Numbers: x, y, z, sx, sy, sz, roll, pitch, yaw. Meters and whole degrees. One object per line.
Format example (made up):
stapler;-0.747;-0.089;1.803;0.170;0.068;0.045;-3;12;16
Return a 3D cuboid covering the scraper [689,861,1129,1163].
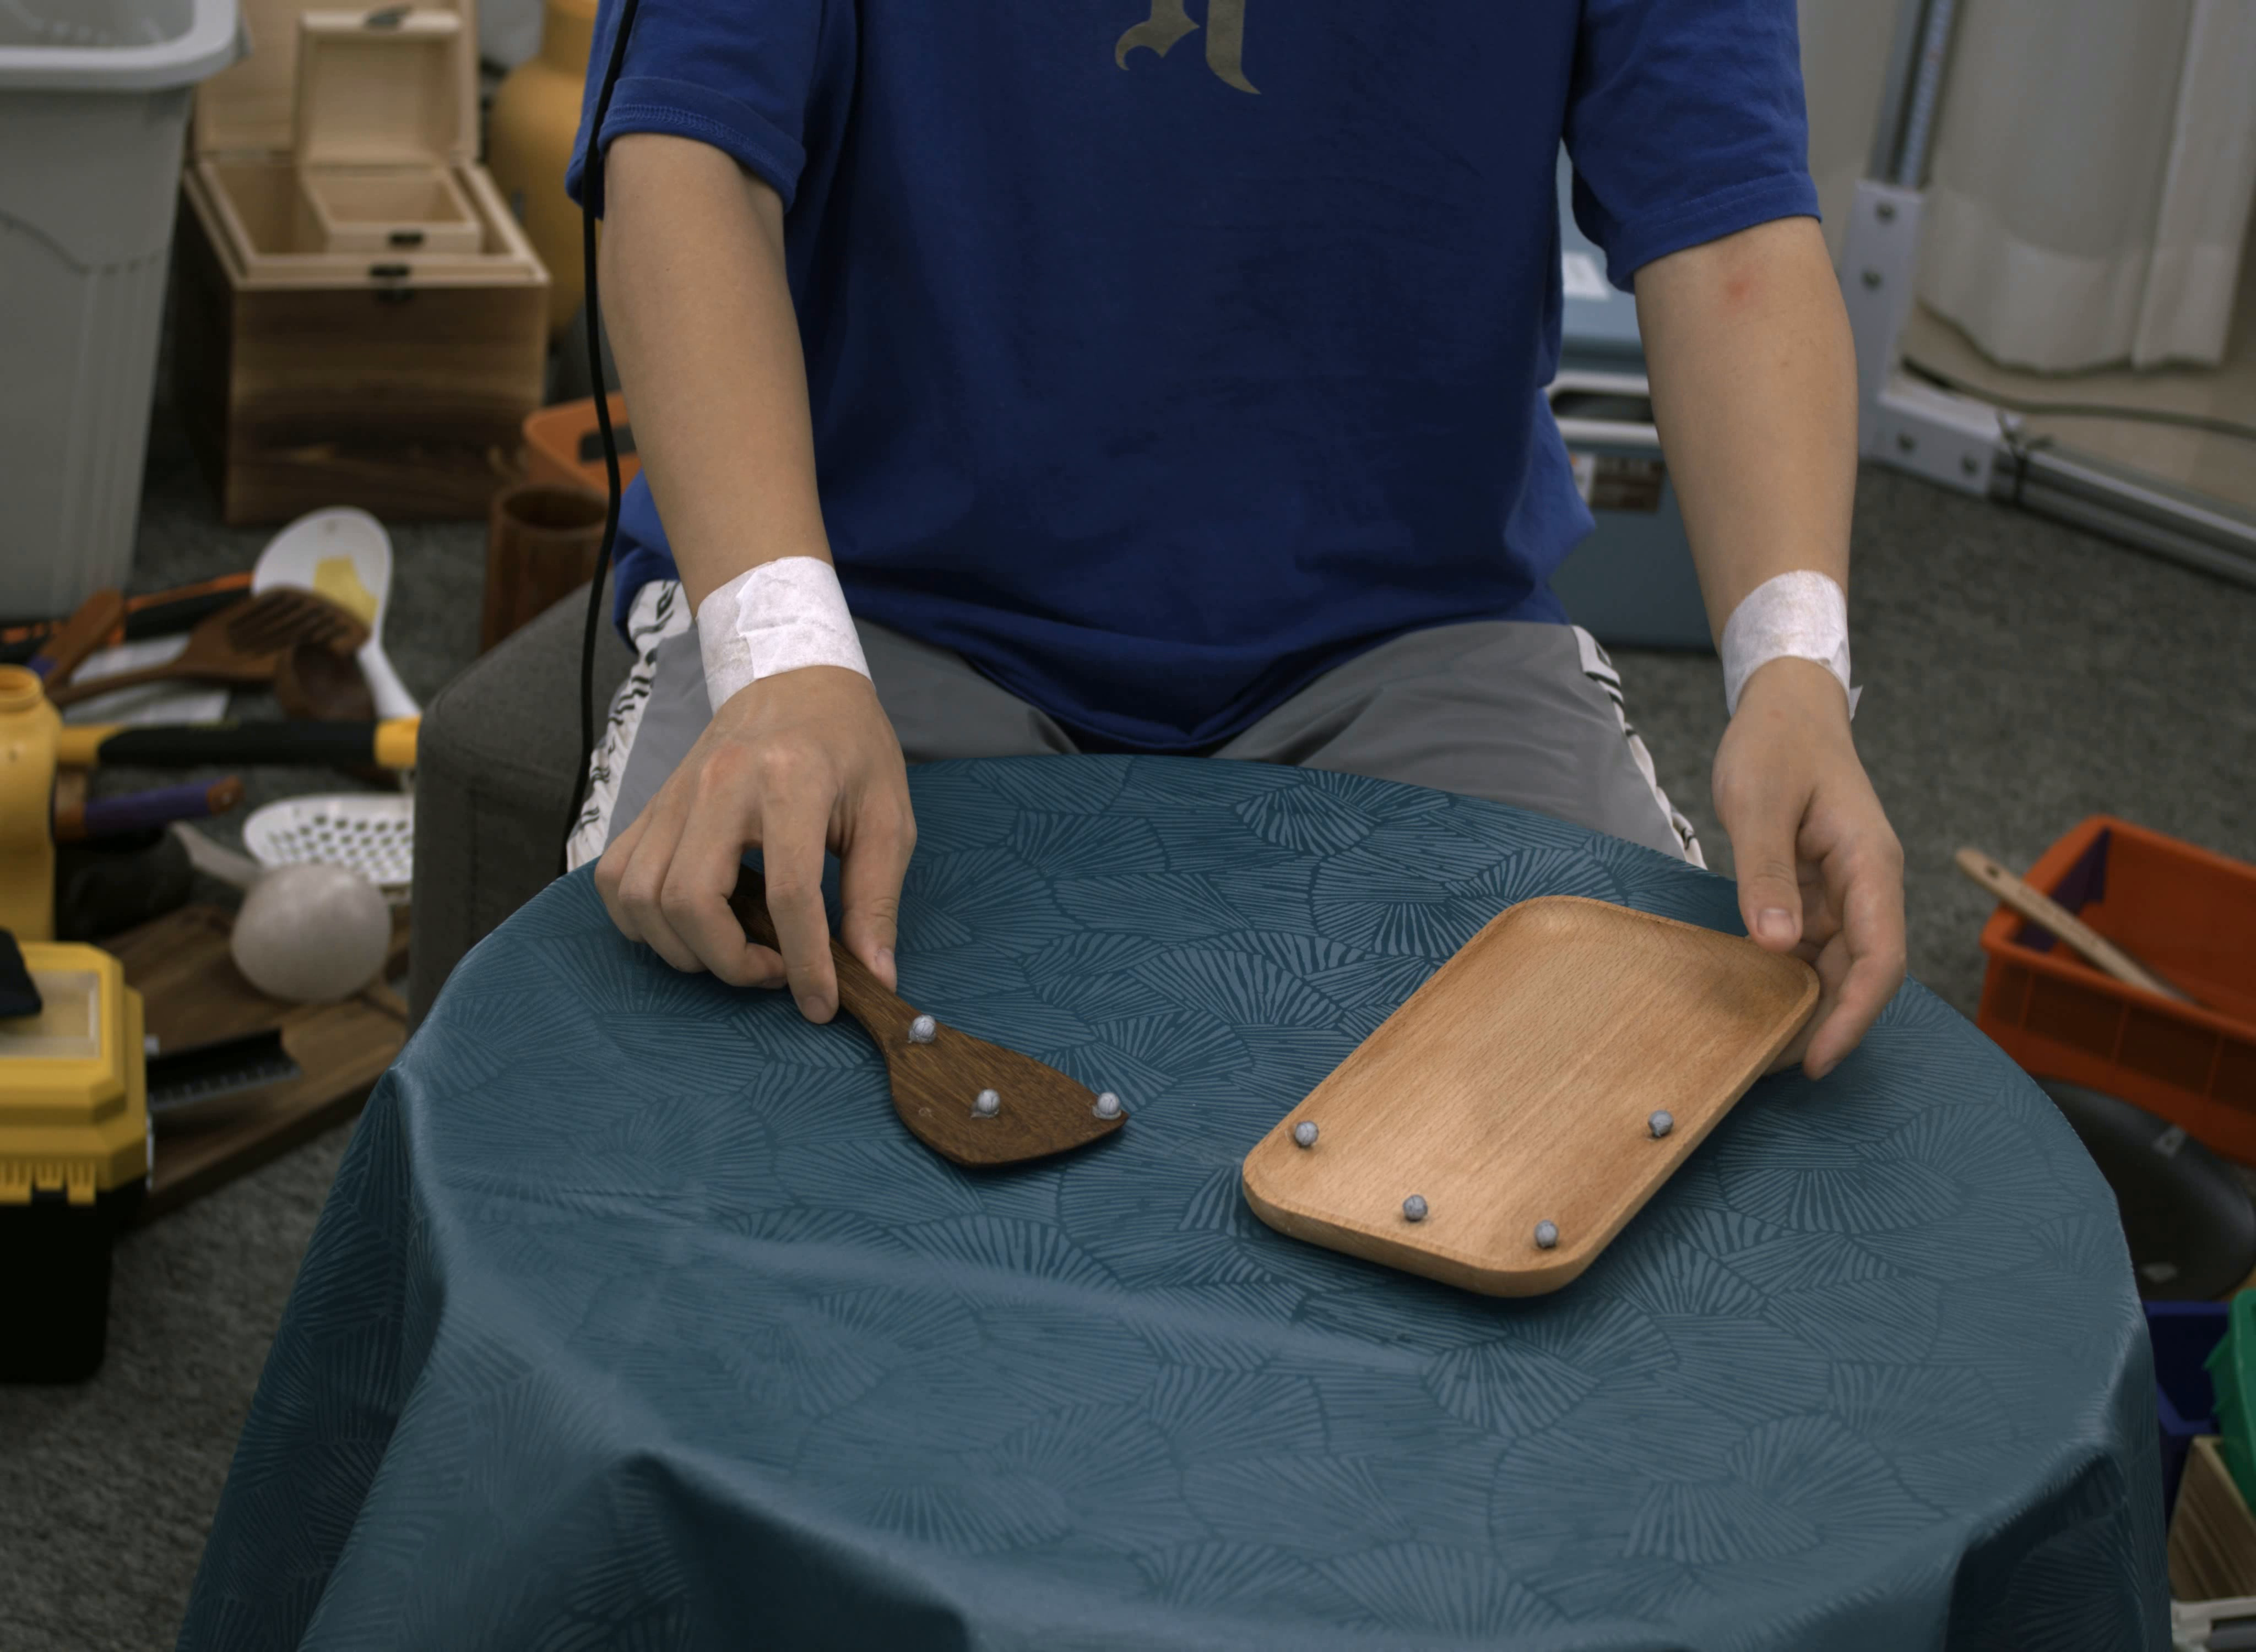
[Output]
scraper;-0.088;0.064;1.881;0.075;0.011;0.213;-12;35;-38

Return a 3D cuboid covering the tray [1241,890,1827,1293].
tray;0.145;0.090;1.860;0.131;0.023;0.250;18;32;25
